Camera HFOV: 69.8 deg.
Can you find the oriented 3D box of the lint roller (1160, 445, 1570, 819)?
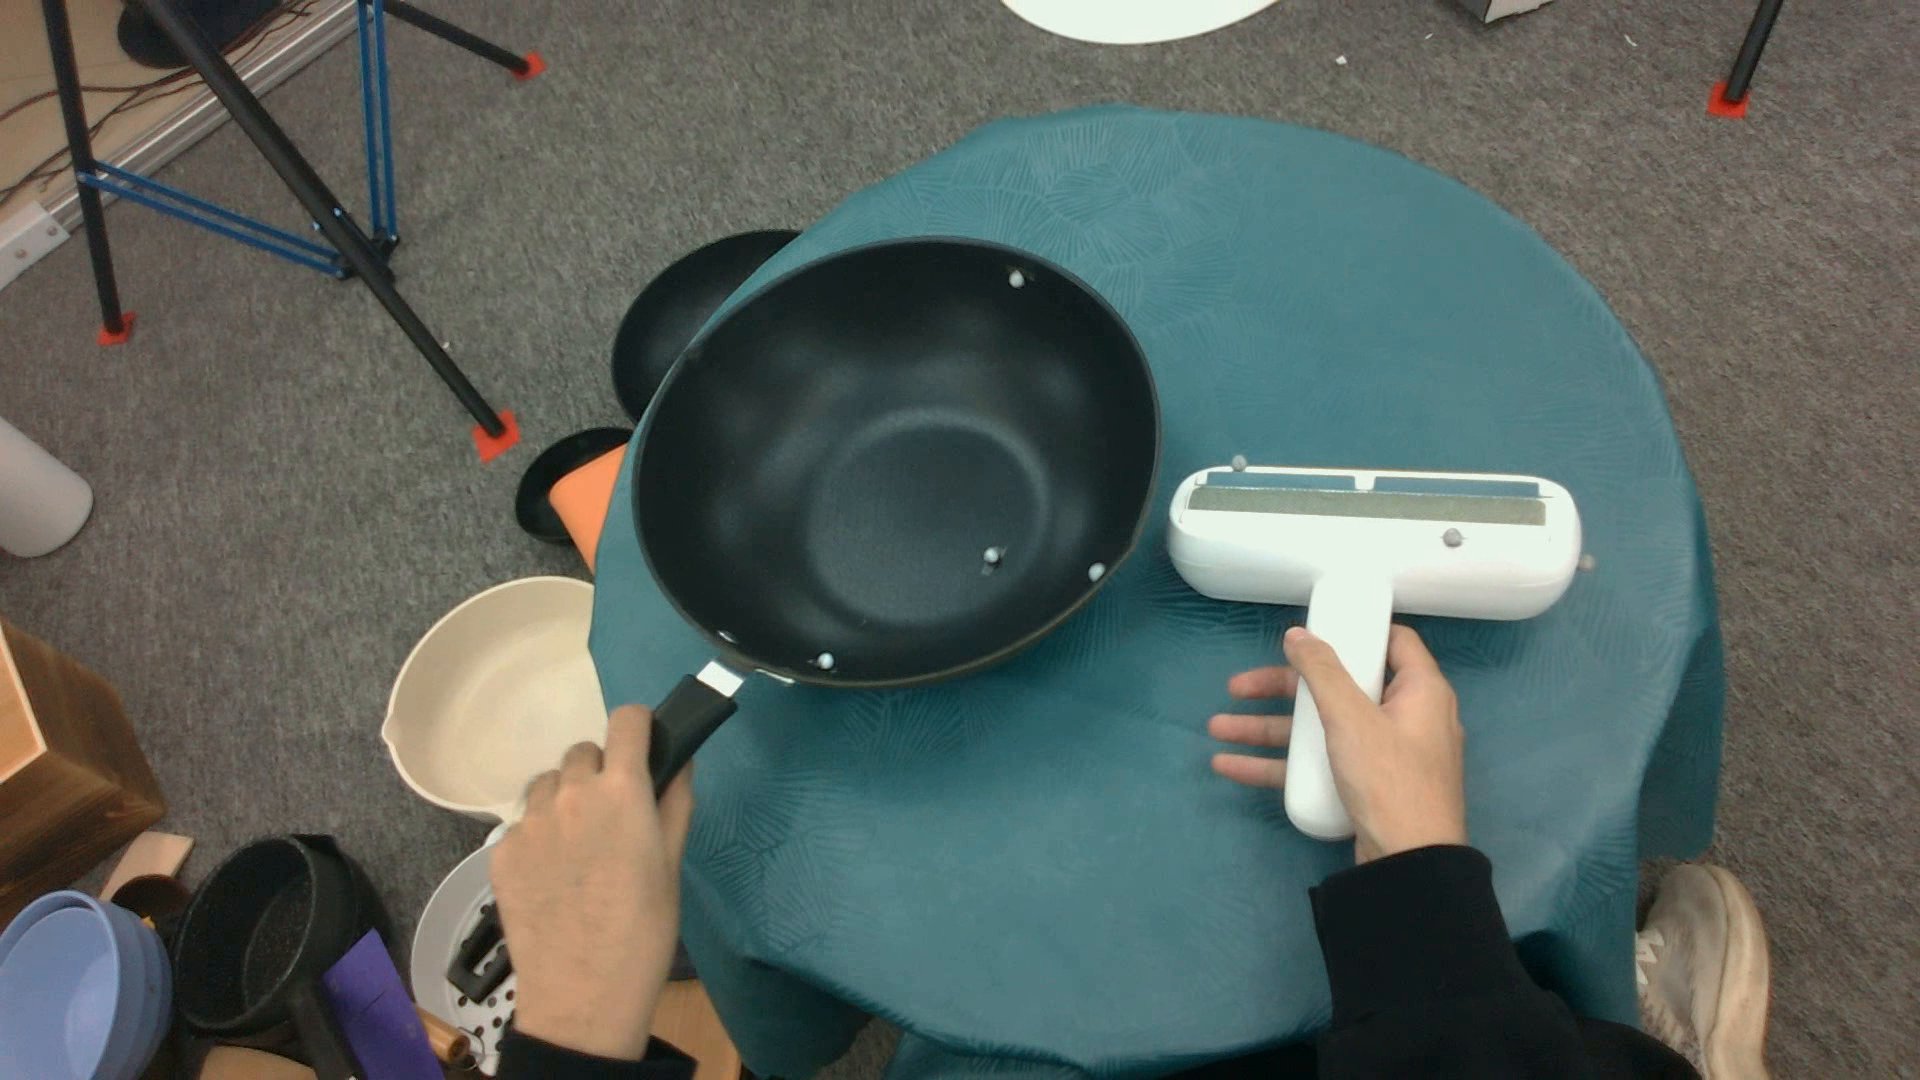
[{"bbox_3d":[0.175,0.038,0.649,0.192,0.074,0.193,10,51,21],"label":"lint roller"}]

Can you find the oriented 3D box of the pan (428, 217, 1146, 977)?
[{"bbox_3d":[-0.089,0.028,0.709,0.288,0.086,0.465,26,68,23],"label":"pan"}]
